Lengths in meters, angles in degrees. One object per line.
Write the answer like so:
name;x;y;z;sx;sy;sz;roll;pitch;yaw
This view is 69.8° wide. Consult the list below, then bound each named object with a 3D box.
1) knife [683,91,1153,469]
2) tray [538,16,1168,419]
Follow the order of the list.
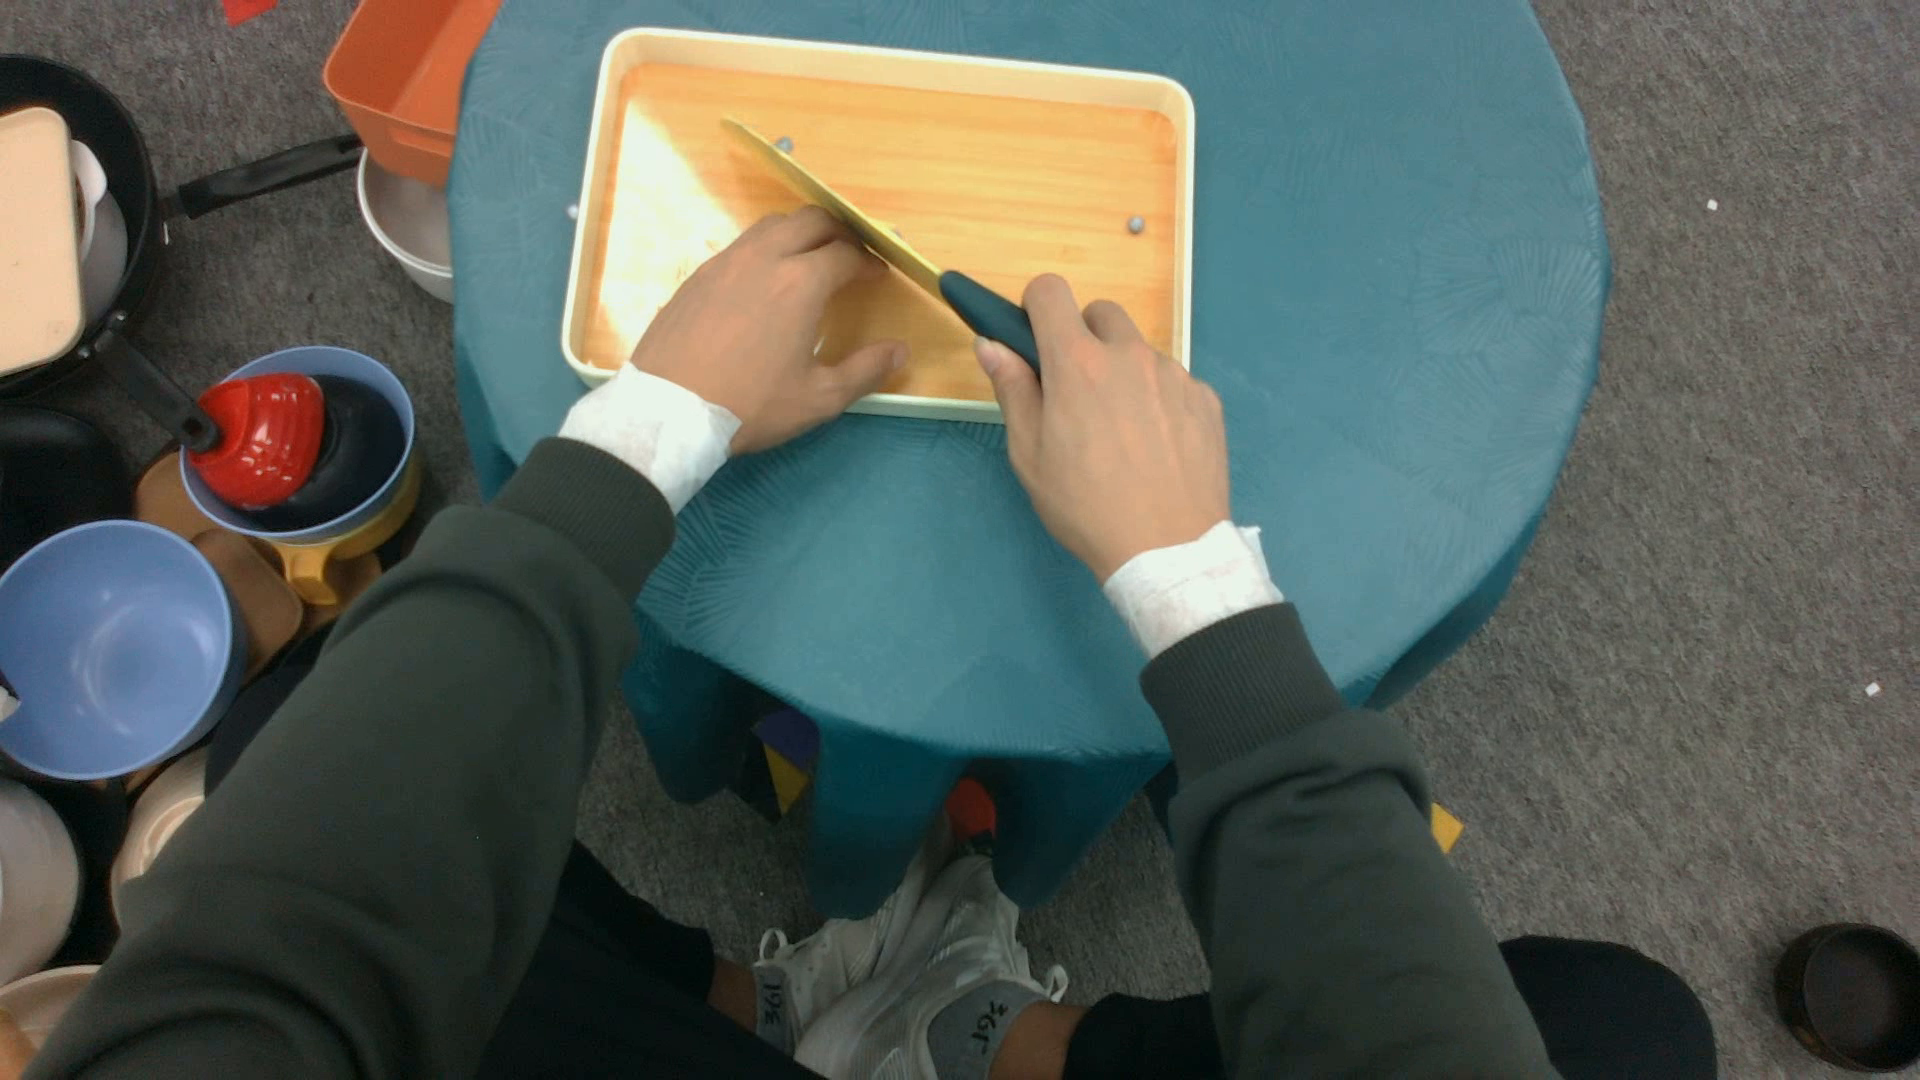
knife;-0.026;-0.126;0.638;0.289;0.081;0.027;40;94;13
tray;-0.047;-0.161;0.688;0.300;0.027;0.192;4;75;-4
